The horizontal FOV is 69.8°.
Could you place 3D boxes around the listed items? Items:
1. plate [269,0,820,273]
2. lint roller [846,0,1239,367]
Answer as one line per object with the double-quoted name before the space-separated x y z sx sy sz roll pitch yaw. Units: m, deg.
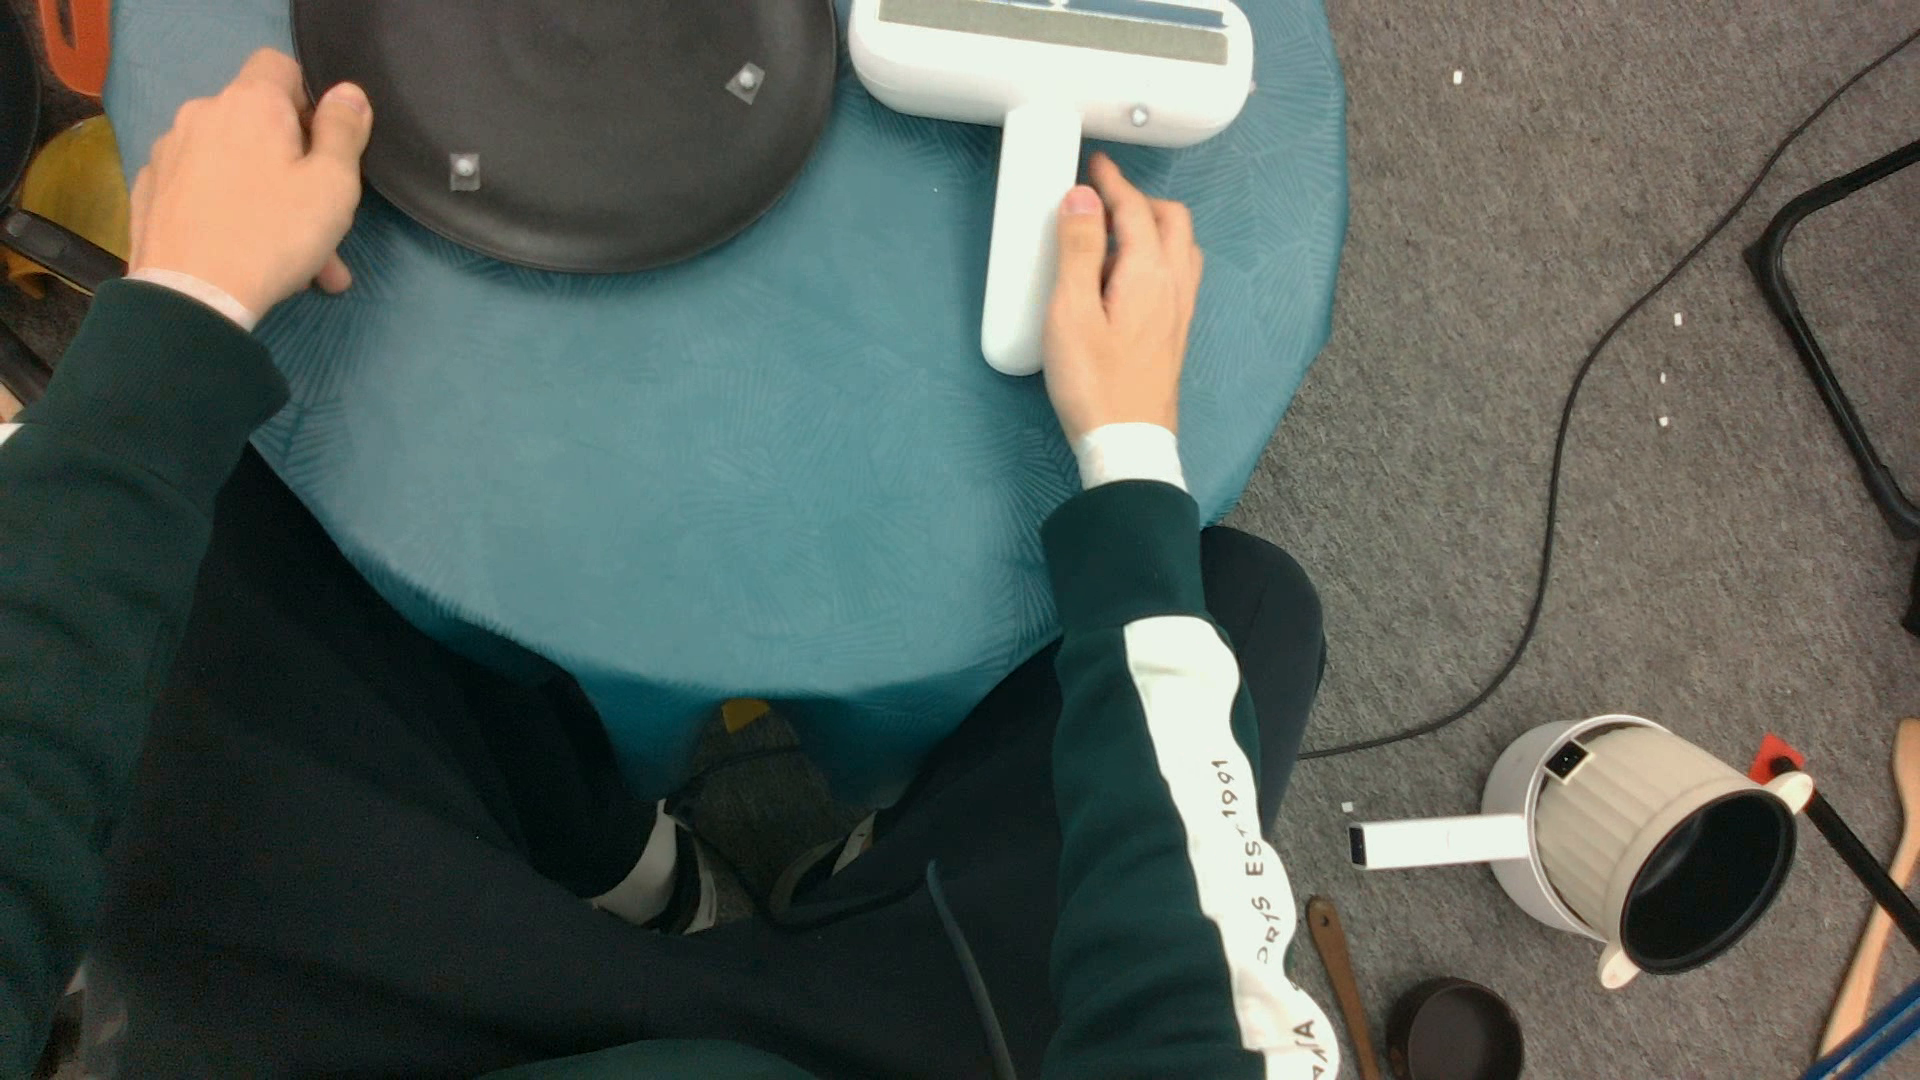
"plate" -0.188 -0.238 0.645 0.244 0.023 0.244 2 81 -14
"lint roller" 0.028 -0.182 0.686 0.193 0.074 0.192 12 93 -5
